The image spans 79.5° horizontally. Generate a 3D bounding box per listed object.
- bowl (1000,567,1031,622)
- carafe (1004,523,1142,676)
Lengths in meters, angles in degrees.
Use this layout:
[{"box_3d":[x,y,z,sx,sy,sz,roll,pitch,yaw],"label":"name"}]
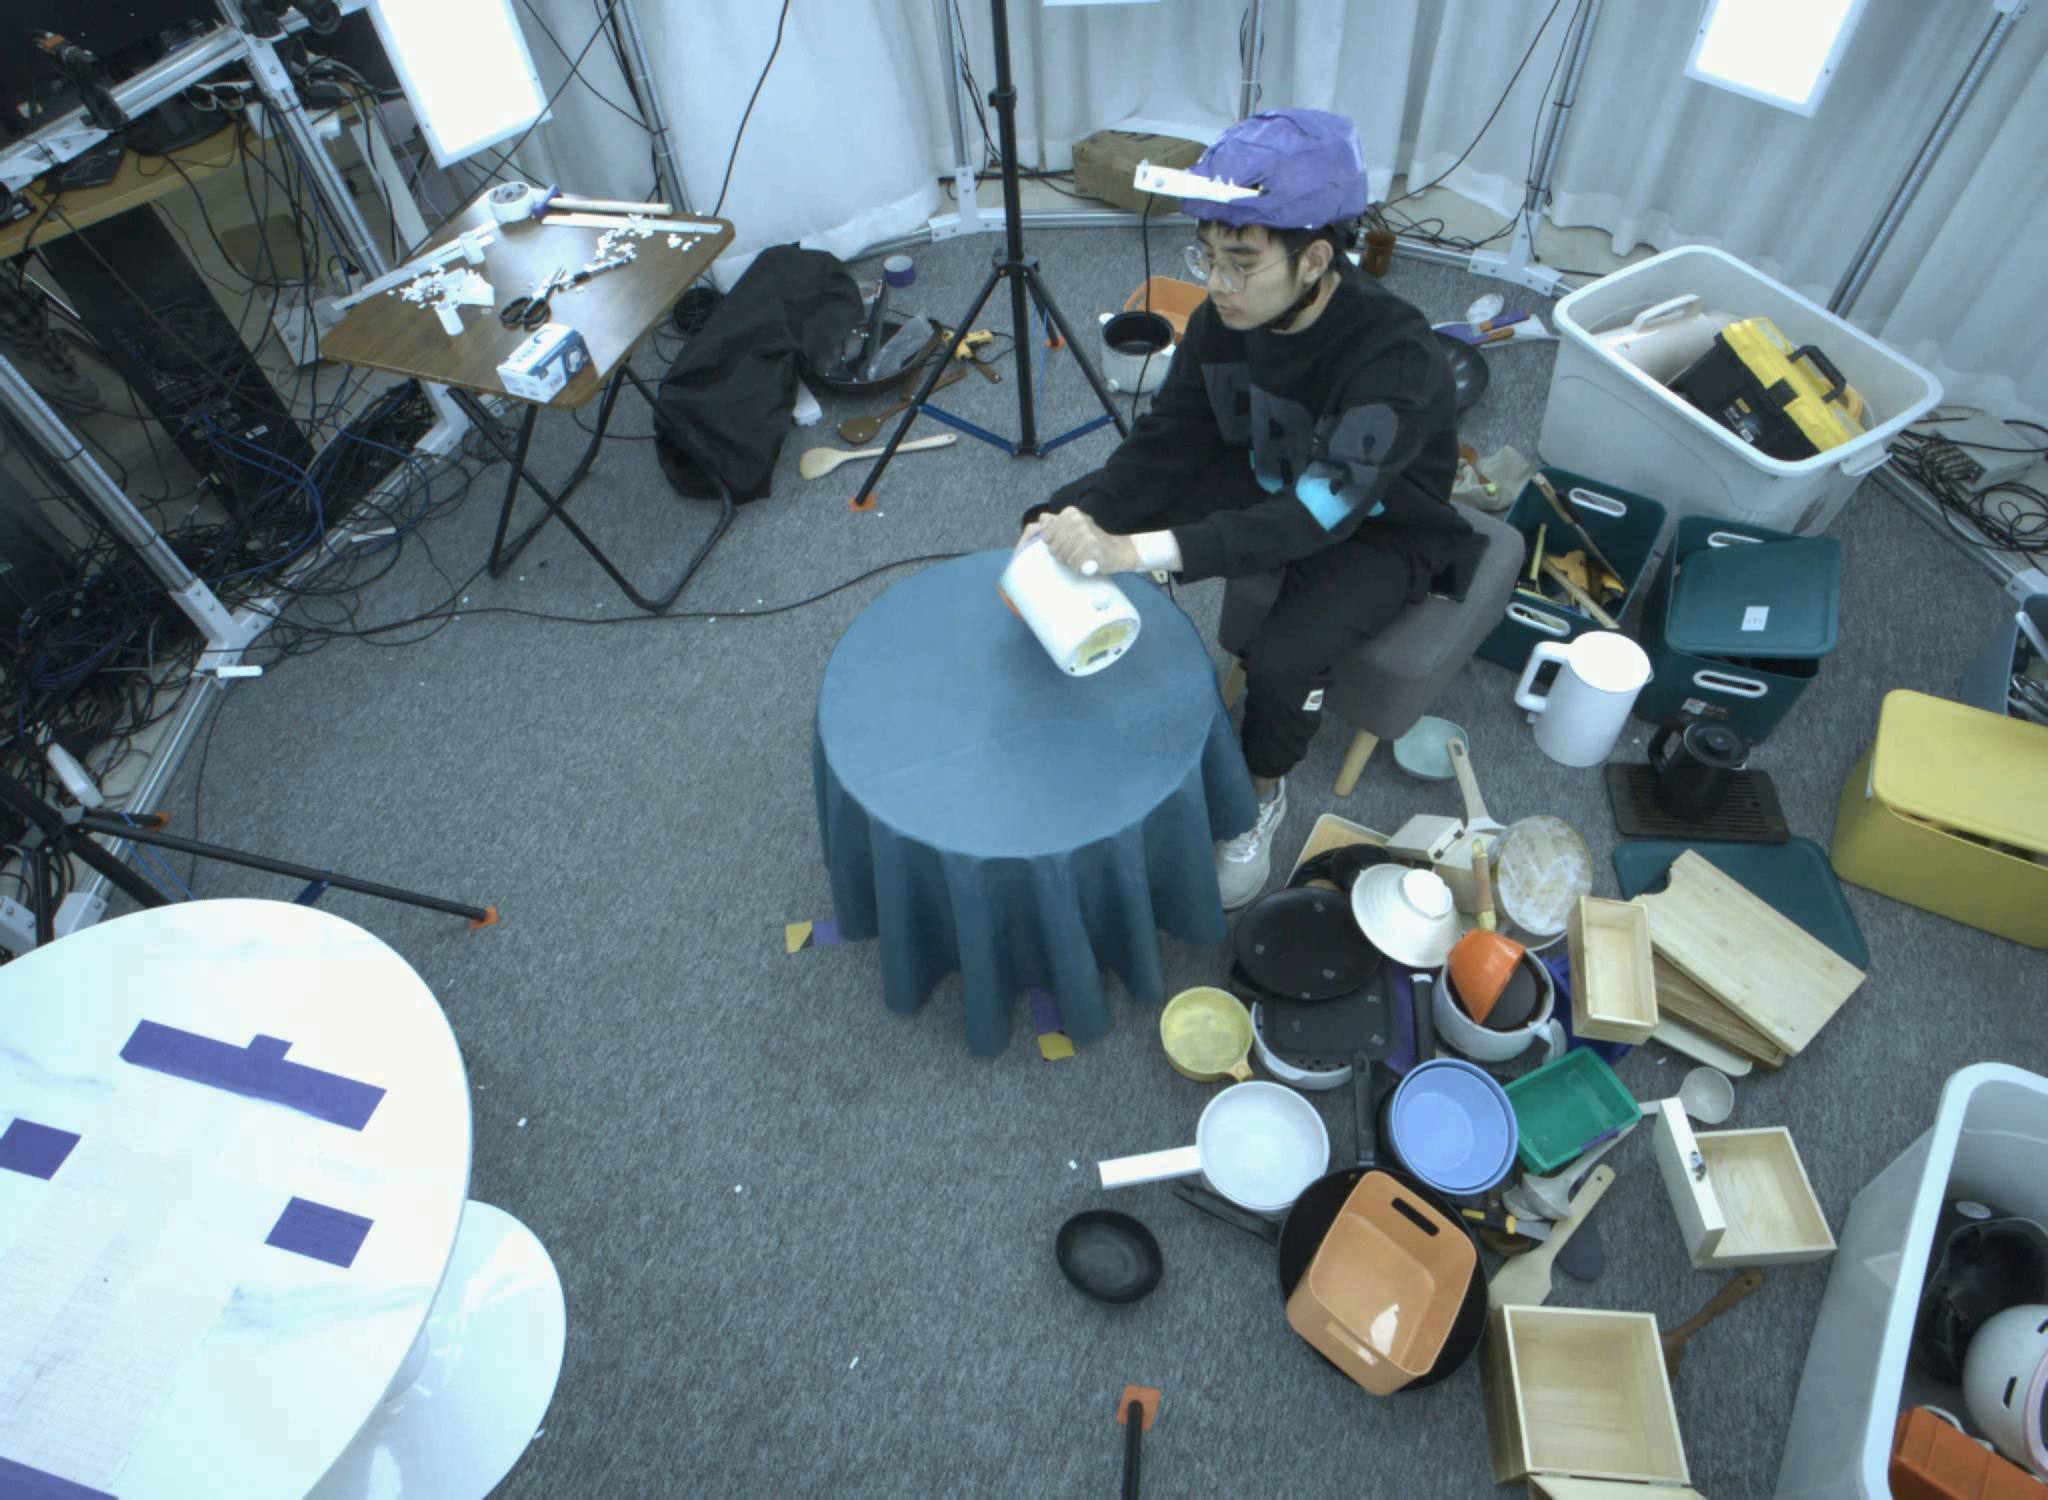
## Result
[{"box_3d":[0.025,-0.236,1.855,0.118,0.052,0.118,-3,62,7],"label":"bowl"},{"box_3d":[0.068,-0.217,1.684,0.133,0.191,0.180,-27,69,-21],"label":"carafe"}]
